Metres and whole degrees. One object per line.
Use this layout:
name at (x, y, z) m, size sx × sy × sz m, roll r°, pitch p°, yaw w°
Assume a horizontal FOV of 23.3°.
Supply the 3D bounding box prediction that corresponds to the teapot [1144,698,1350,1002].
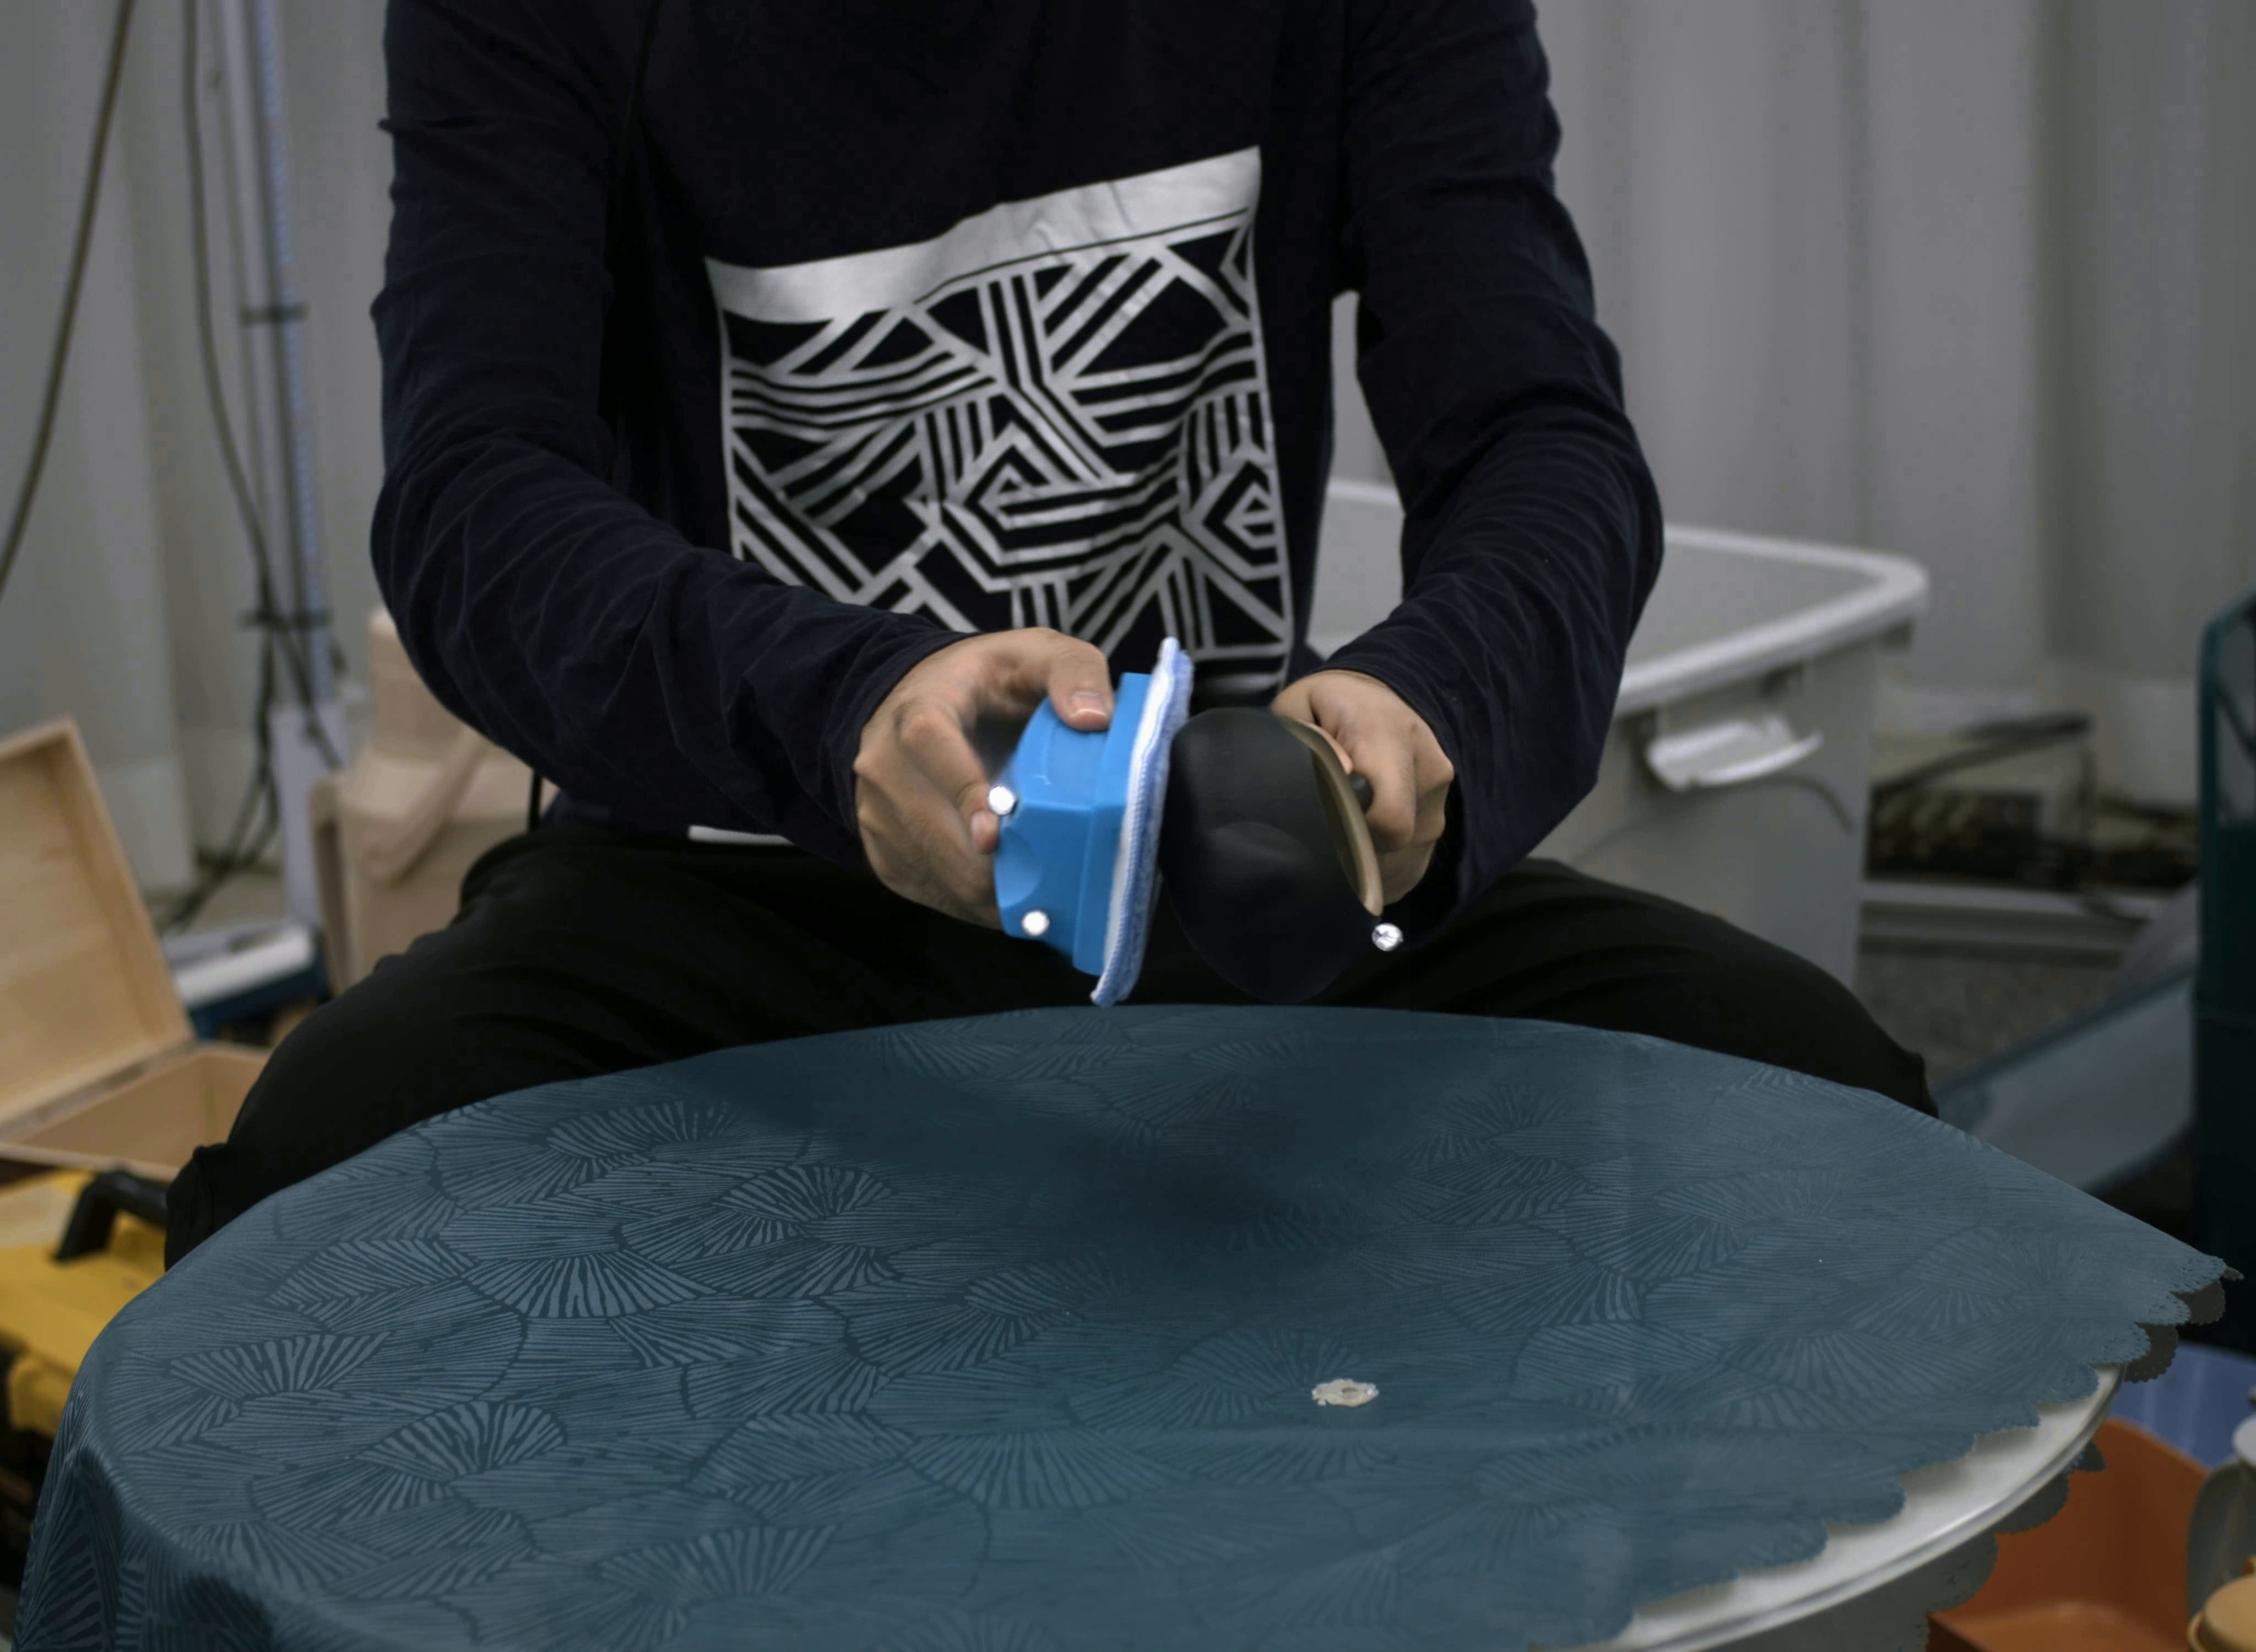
teapot at (0.035, 0.007, 1.628) m, size 0.053 × 0.091 × 0.133 m, roll -8°, pitch 9°, yaw 10°

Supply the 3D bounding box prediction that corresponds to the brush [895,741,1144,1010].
brush at (-0.037, 0.010, 1.649) m, size 0.055 × 0.084 × 0.144 m, roll 18°, pitch -2°, yaw -12°
